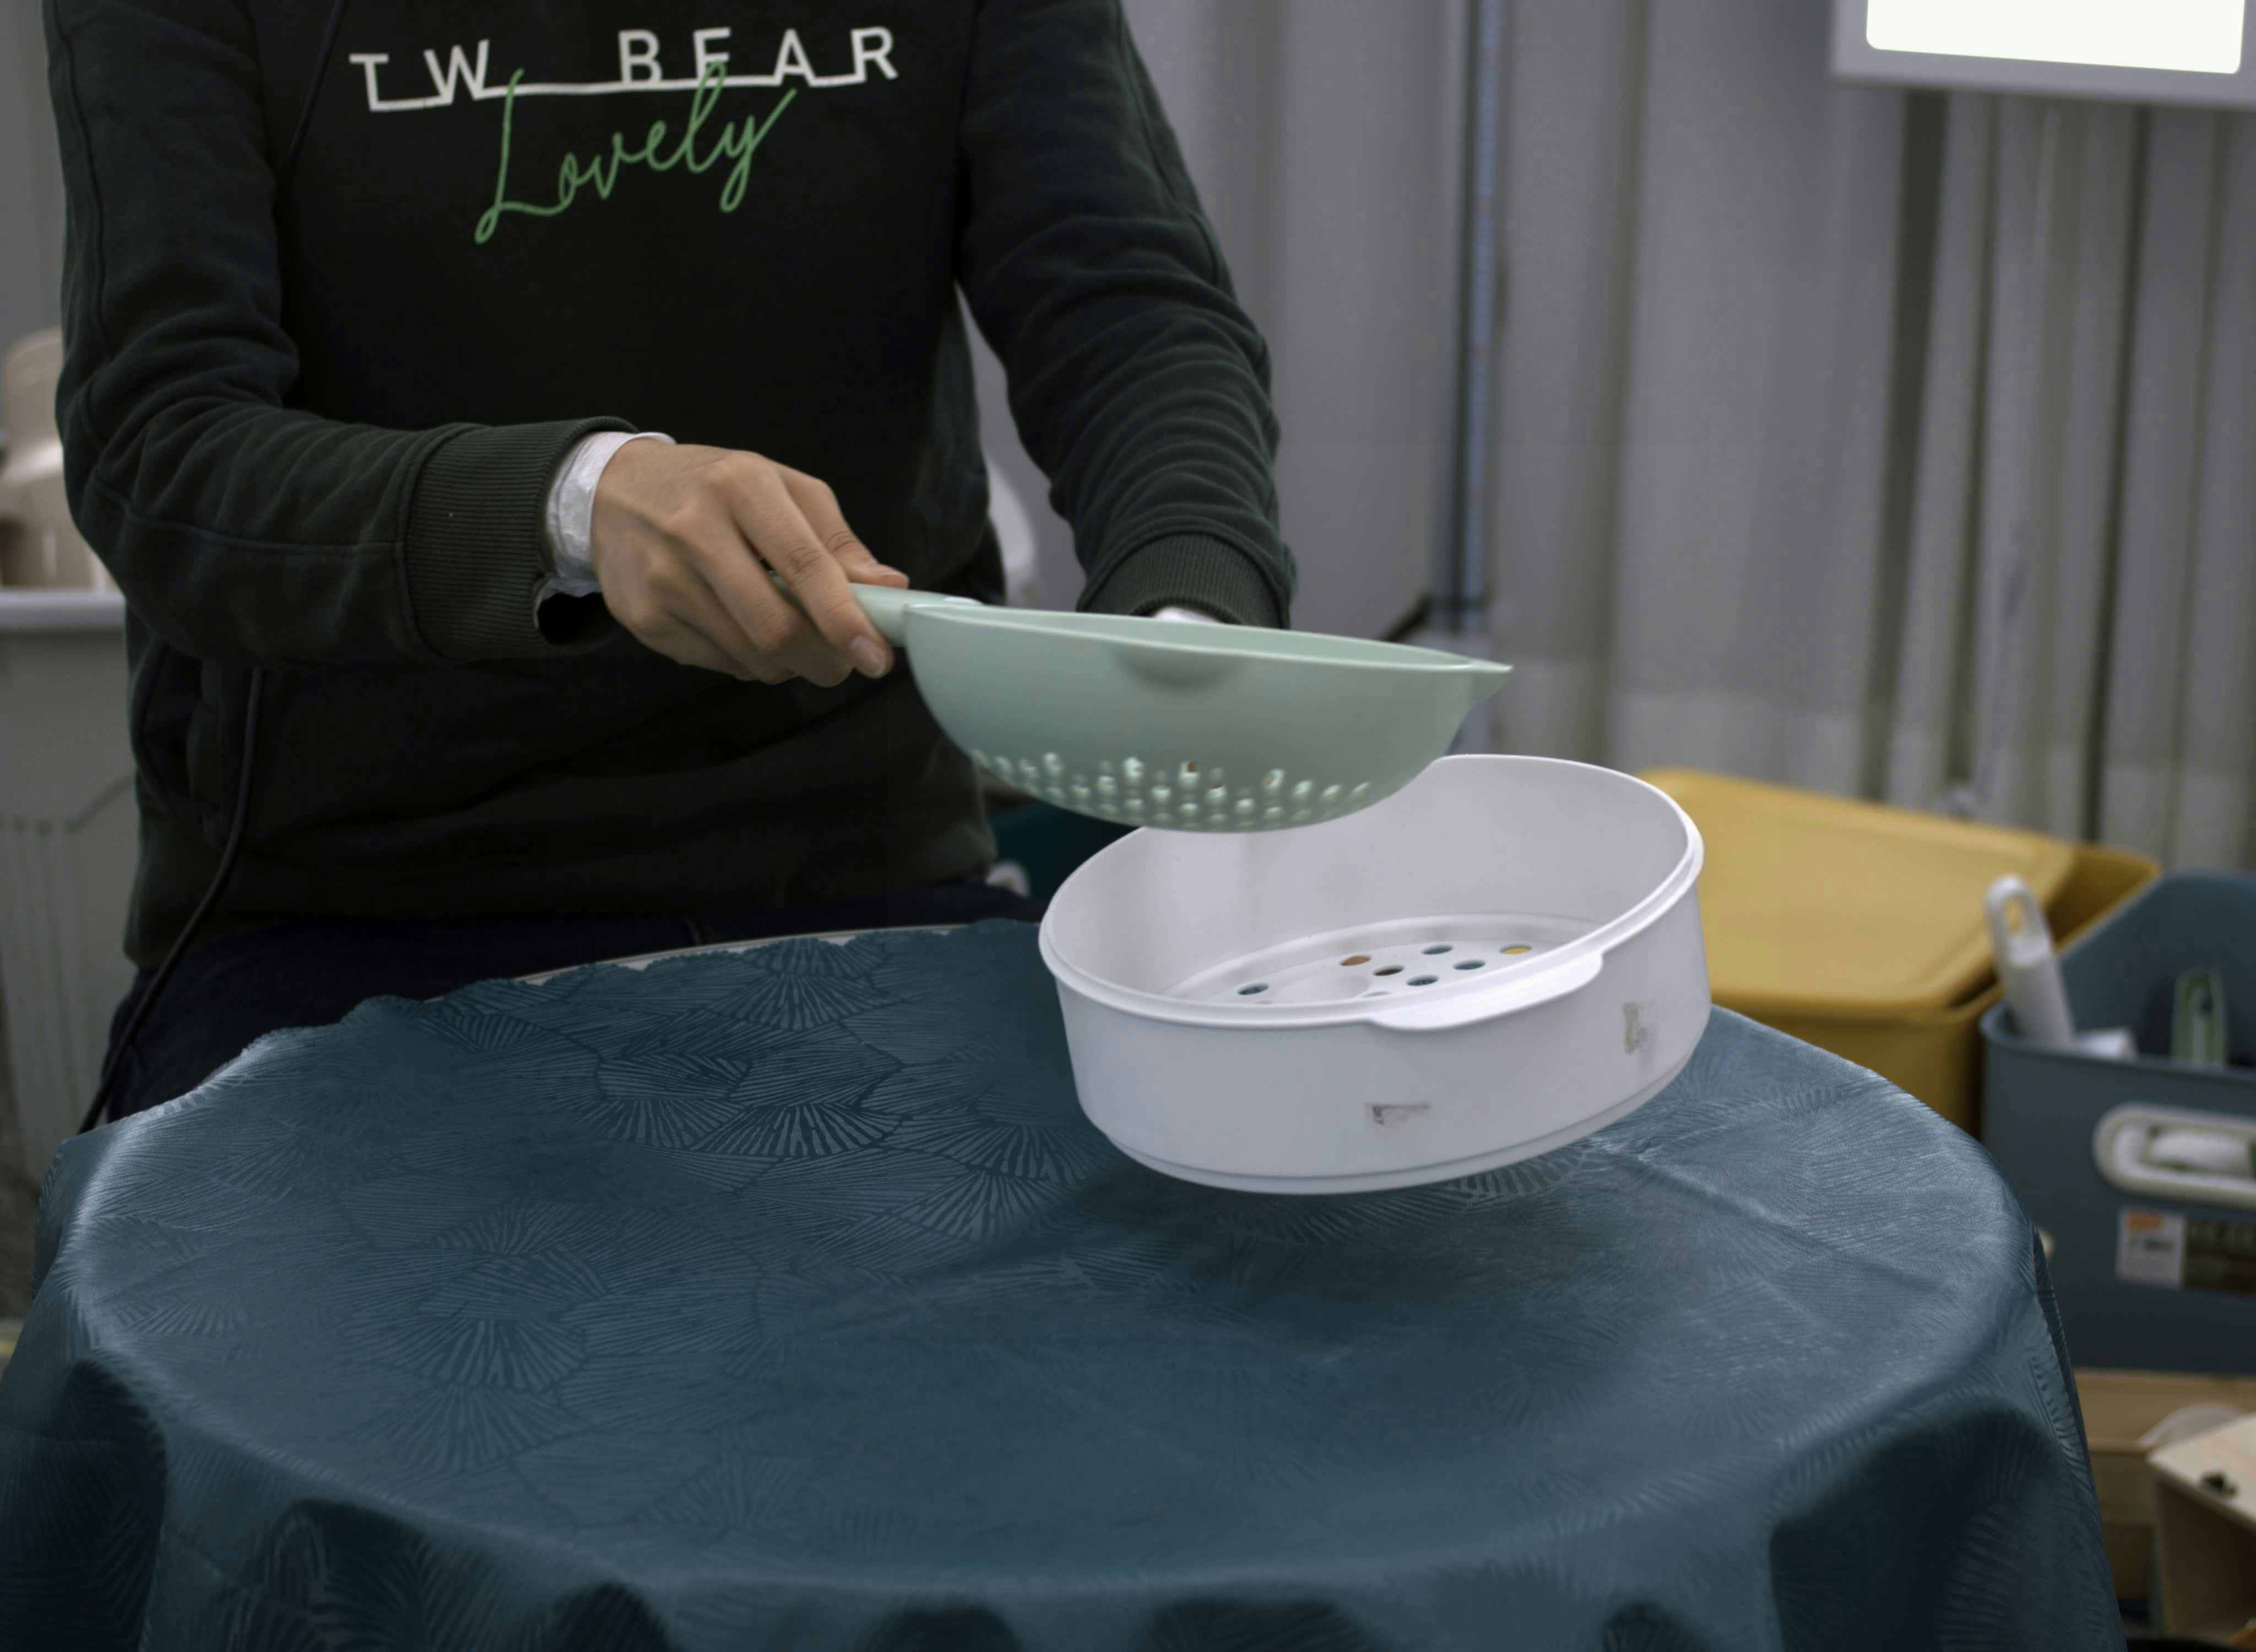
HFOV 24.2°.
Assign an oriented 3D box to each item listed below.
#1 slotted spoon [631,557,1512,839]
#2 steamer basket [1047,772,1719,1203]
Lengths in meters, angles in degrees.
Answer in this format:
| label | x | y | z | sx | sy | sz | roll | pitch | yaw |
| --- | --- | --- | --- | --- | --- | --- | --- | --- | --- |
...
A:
| label | x | y | z | sx | sy | sz | roll | pitch | yaw |
| --- | --- | --- | --- | --- | --- | --- | --- | --- | --- |
| slotted spoon | -0.045 | -0.054 | 1.593 | 0.171 | 0.076 | 0.354 | 3 | 13 | -41 |
| steamer basket | 0.079 | 0.048 | 1.581 | 0.202 | 0.070 | 0.228 | -14 | 21 | -16 |
